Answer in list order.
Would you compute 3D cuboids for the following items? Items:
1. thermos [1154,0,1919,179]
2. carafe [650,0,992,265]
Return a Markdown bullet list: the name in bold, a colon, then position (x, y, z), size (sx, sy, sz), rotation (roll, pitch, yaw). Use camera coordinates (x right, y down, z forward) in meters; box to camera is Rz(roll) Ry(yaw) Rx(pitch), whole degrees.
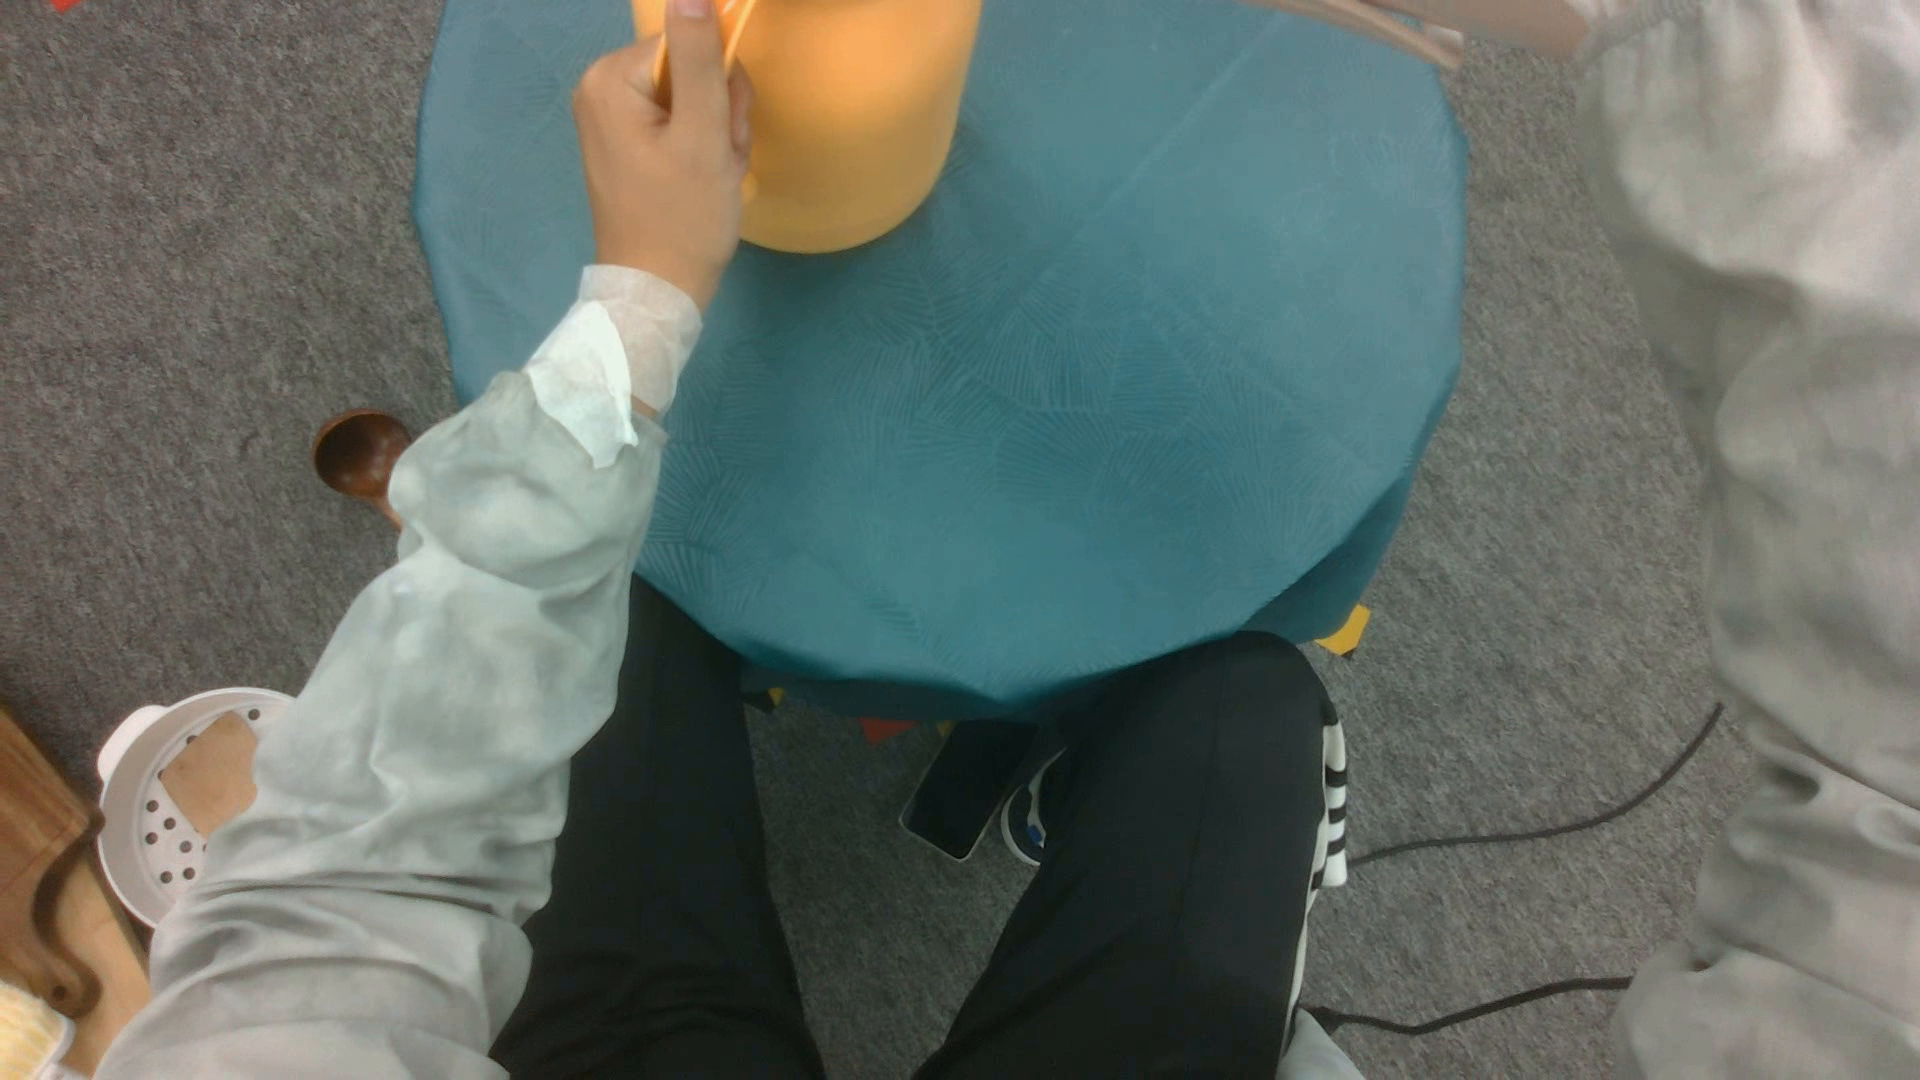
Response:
- **thermos**: position (0.171, -0.245, 0.449), size (0.406, 0.207, 0.175), rotation (13, 94, -9)
- **carafe**: position (-0.076, -0.234, 0.656), size (0.163, 0.259, 0.203), rotation (27, 74, 1)
